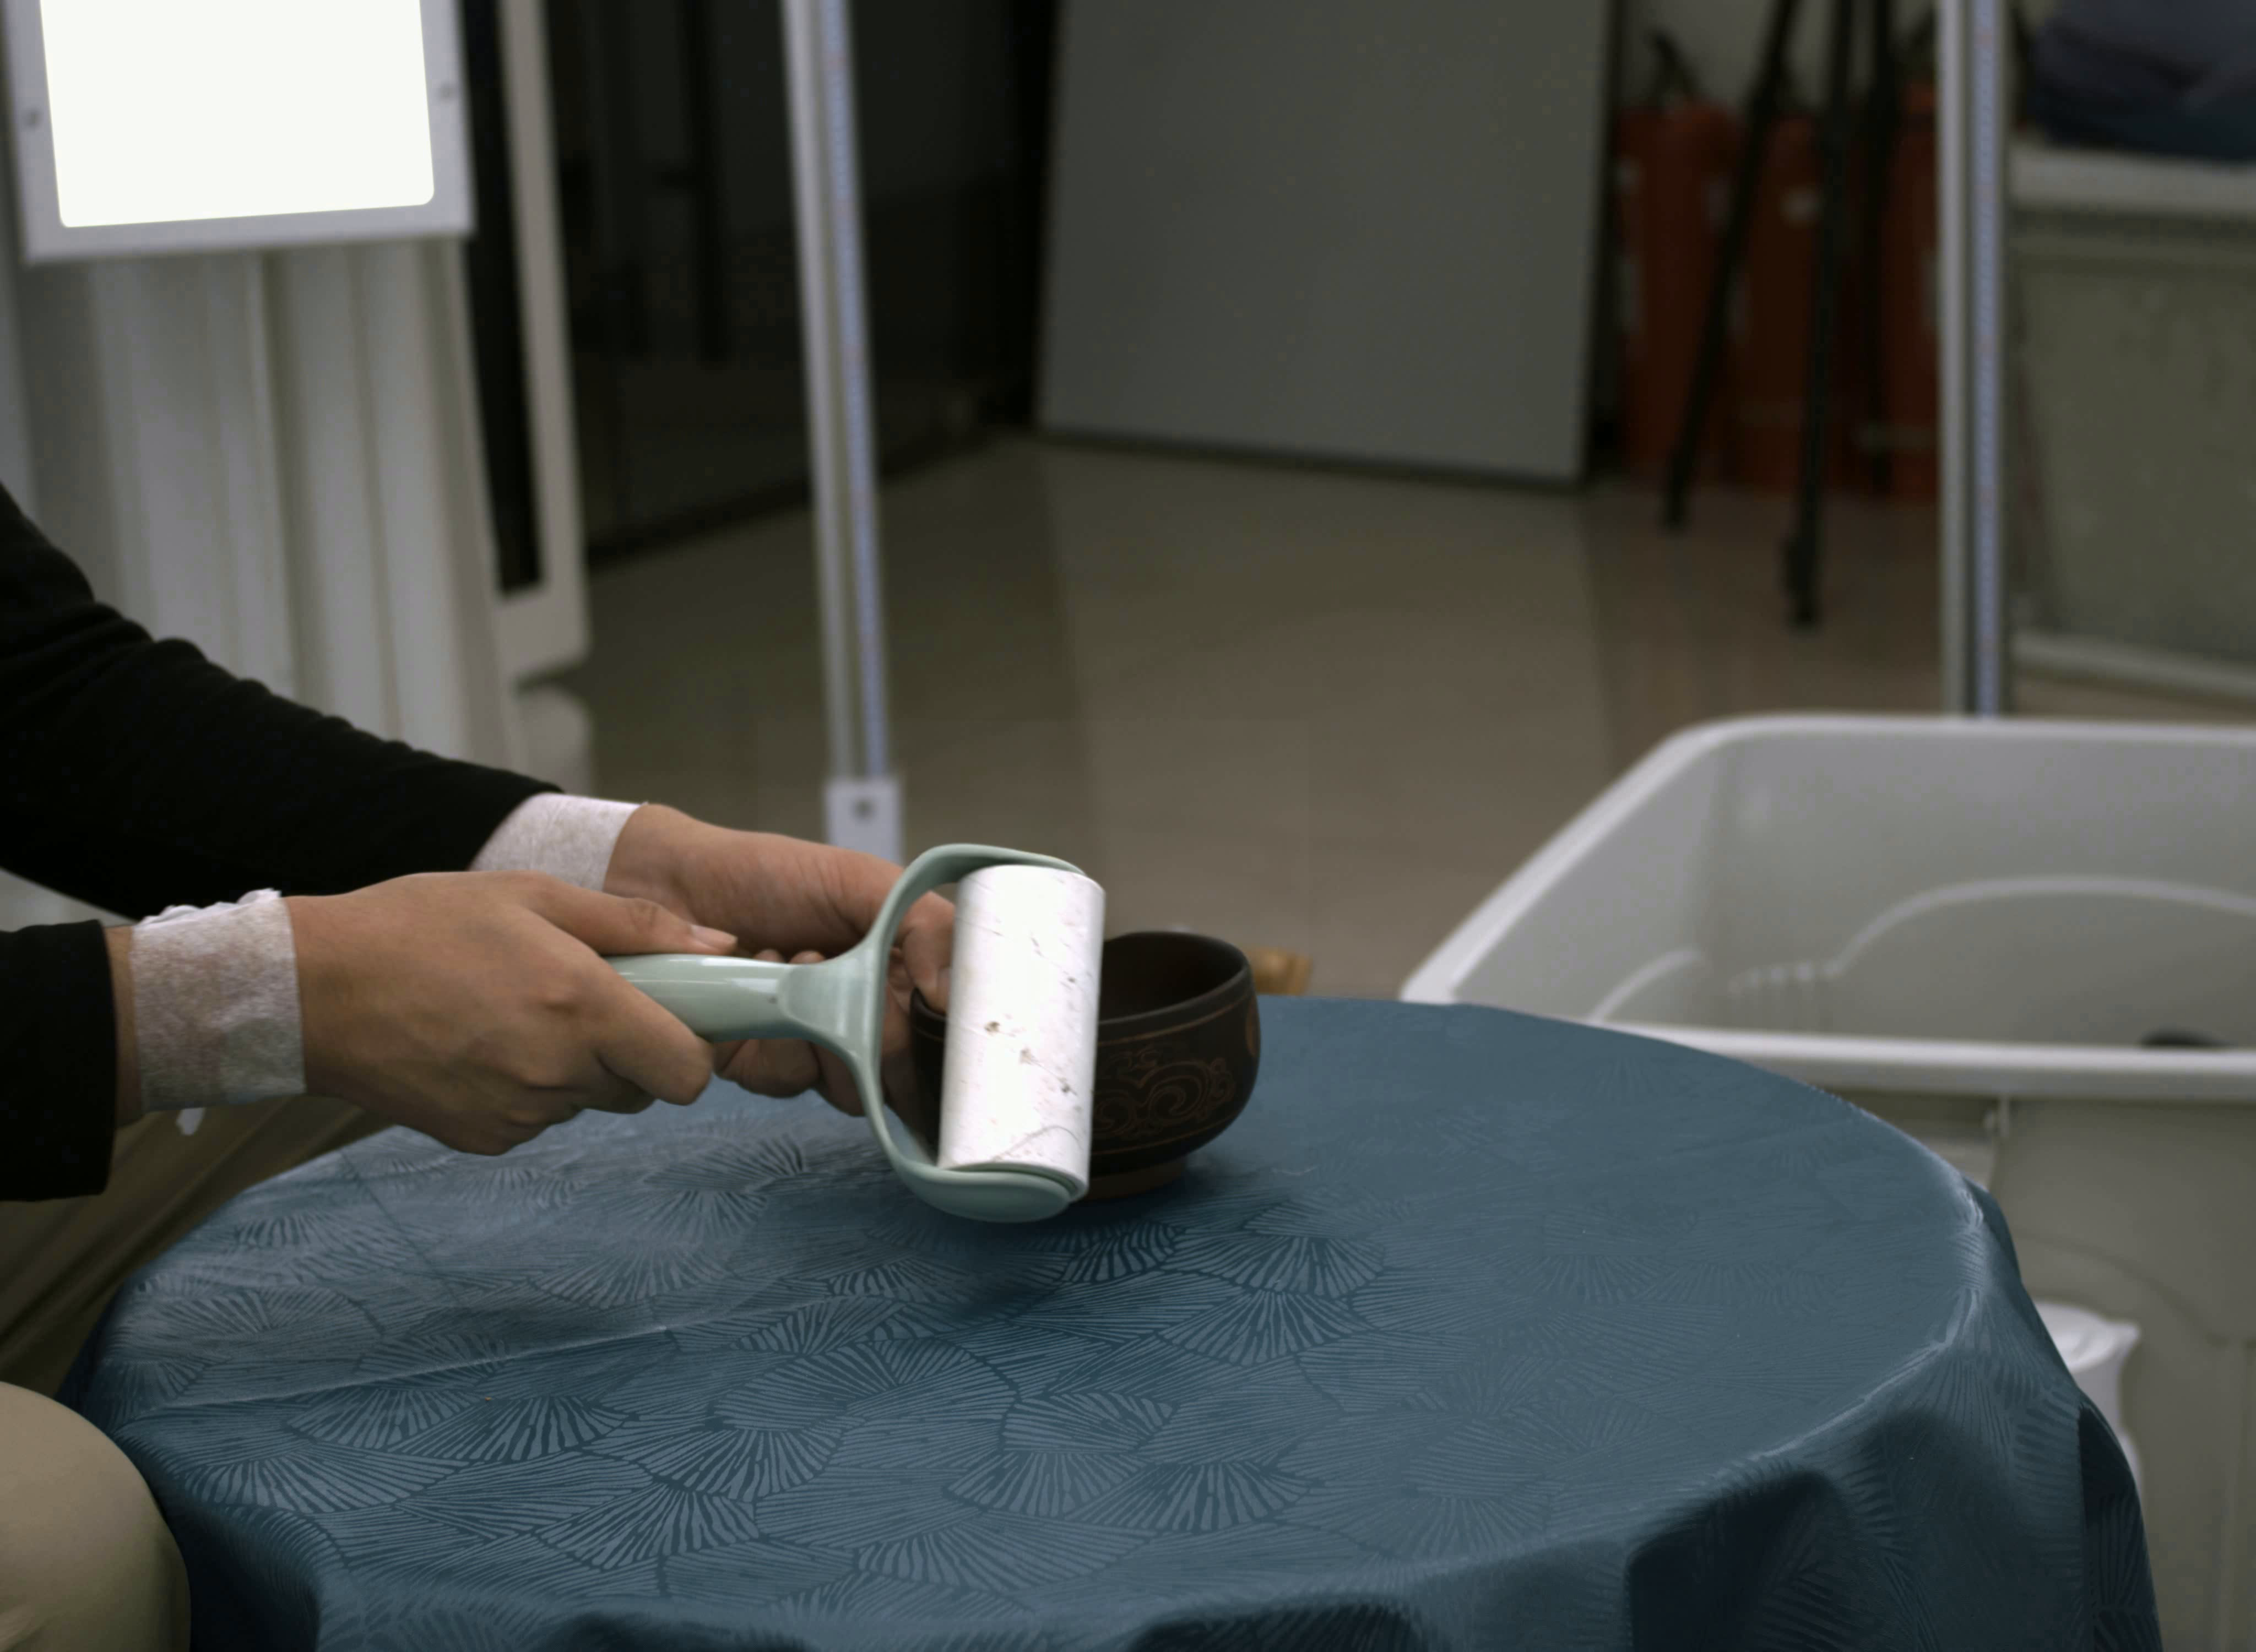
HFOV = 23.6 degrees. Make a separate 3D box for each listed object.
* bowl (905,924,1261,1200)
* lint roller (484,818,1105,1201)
[{"bbox_3d":[-0.012,0.081,1.779,0.116,0.070,0.118,-8,14,1],"label":"bowl"},{"bbox_3d":[-0.104,0.053,1.690,0.195,0.118,0.048,4,-21,-2],"label":"lint roller"}]
